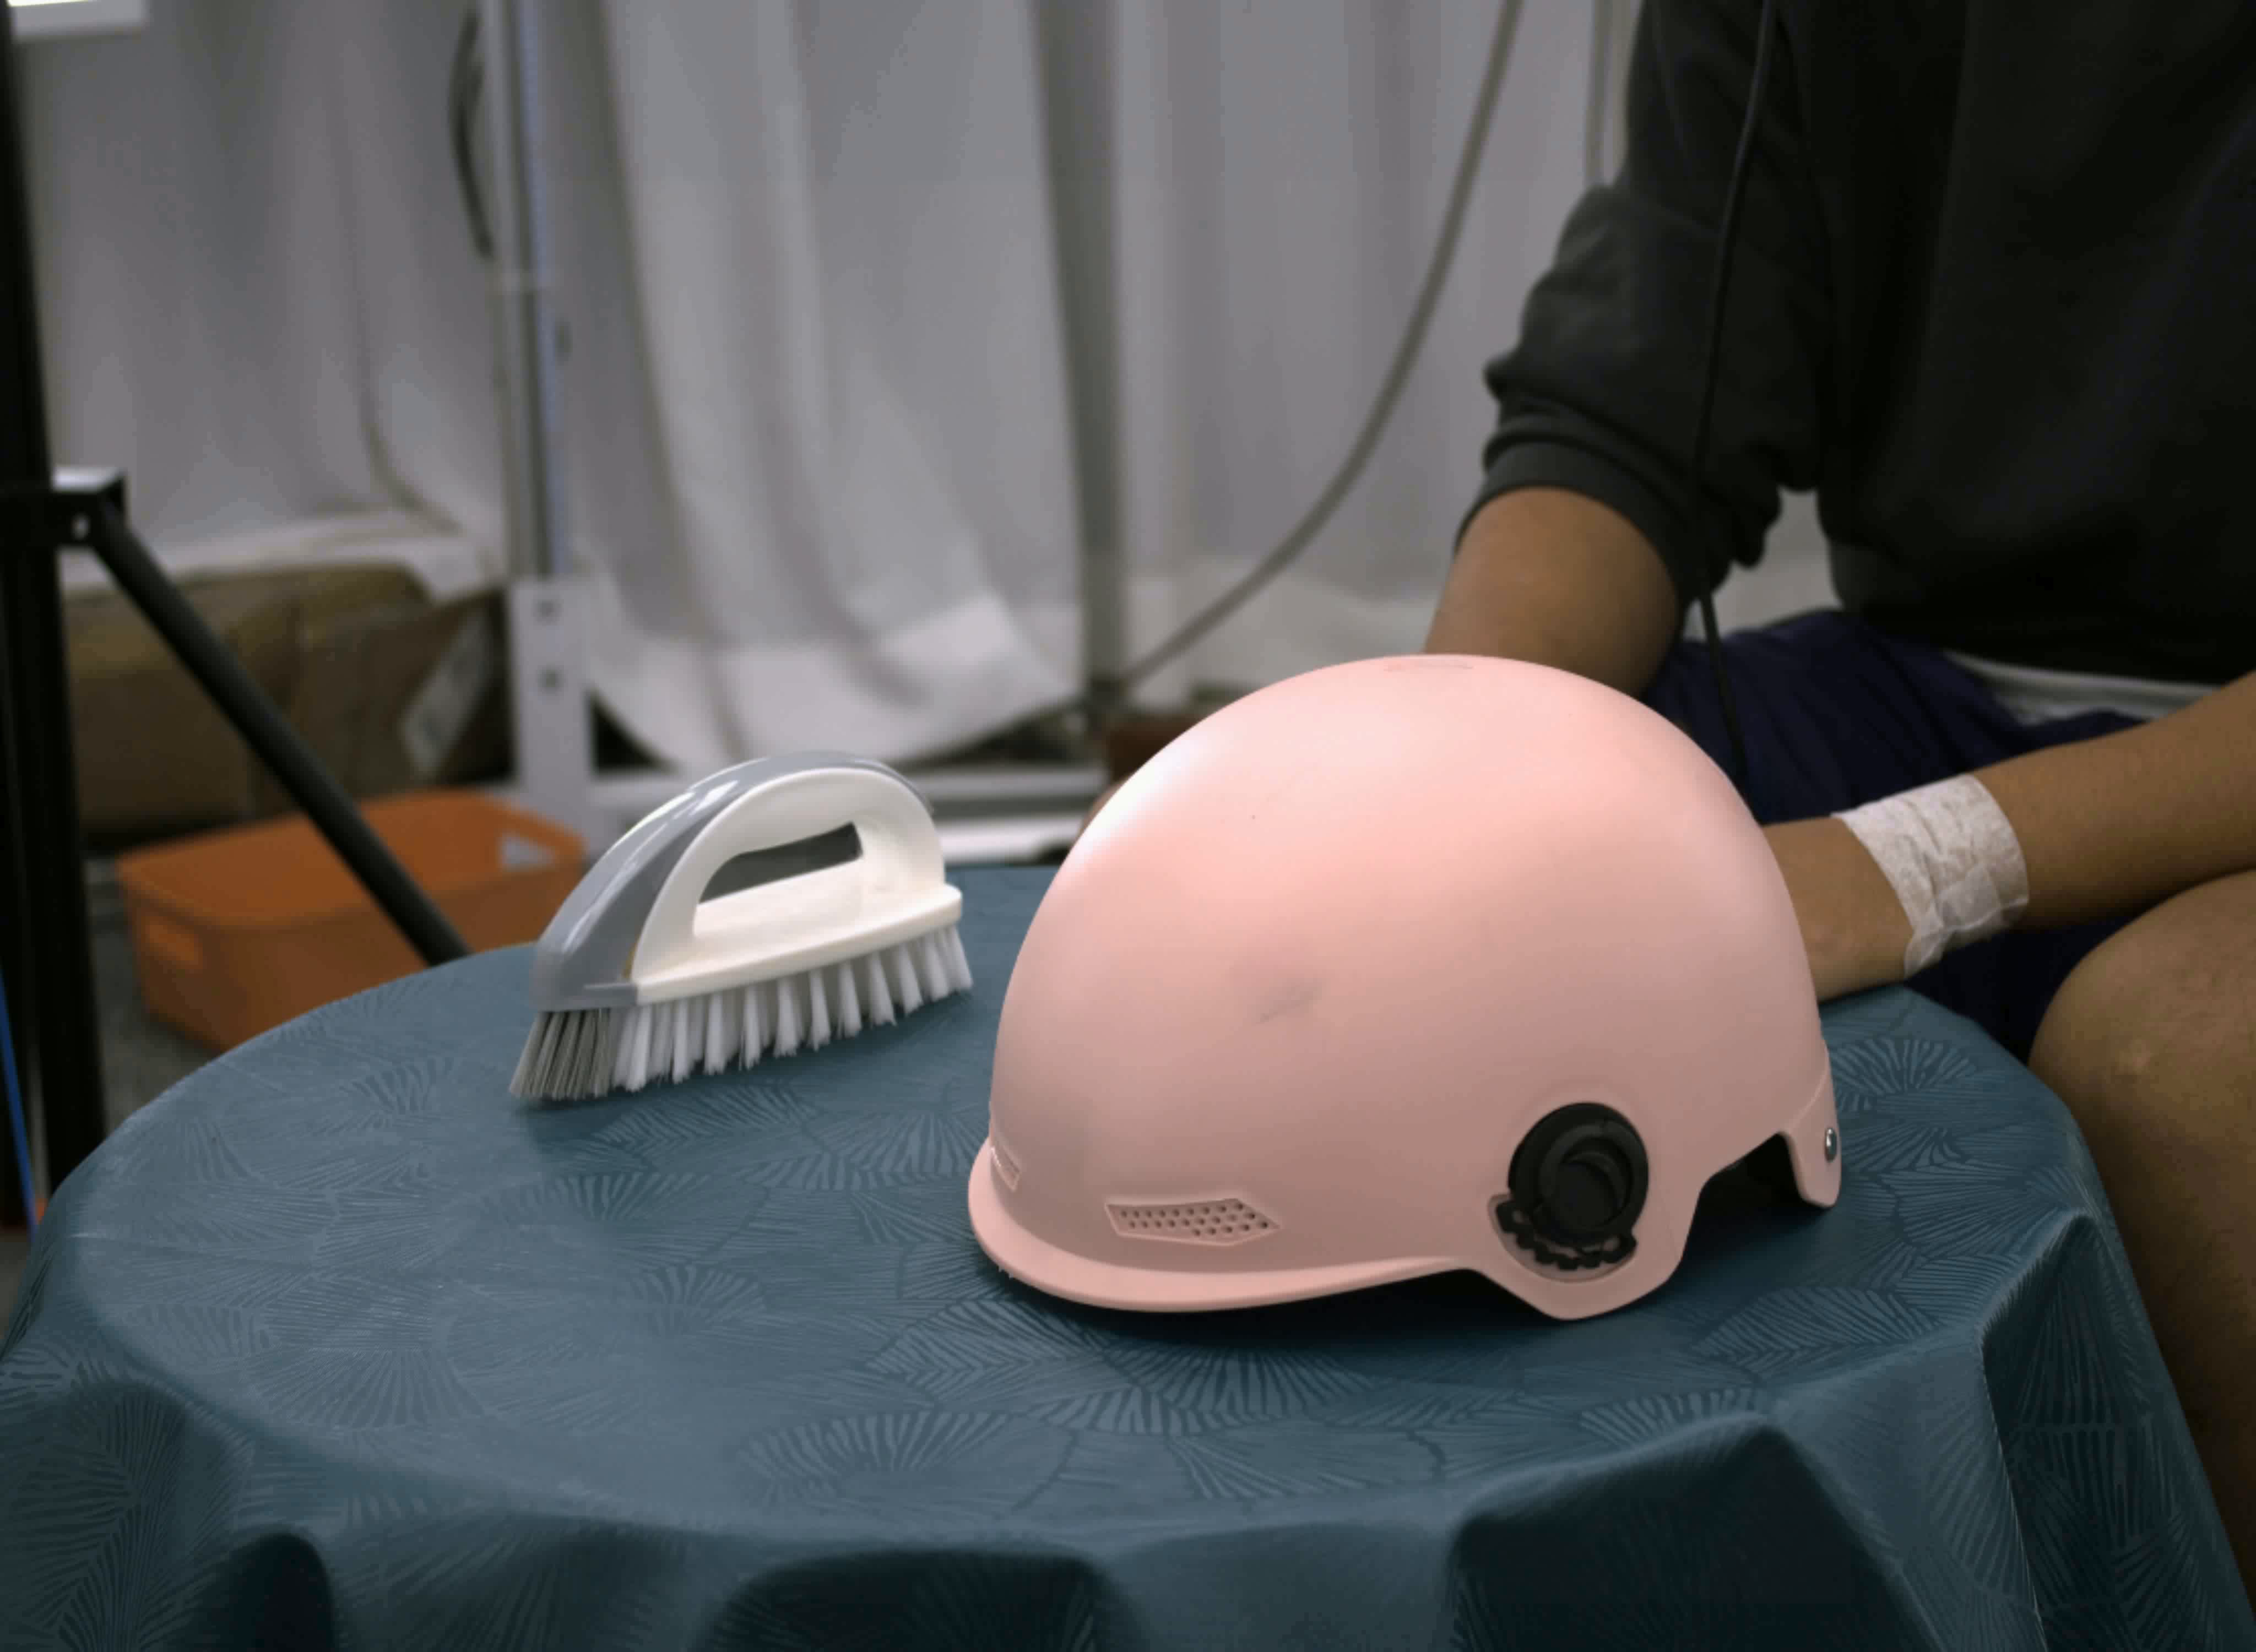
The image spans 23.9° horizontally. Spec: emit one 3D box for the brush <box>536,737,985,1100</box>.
[{"bbox_3d":[-0.124,0.026,1.703,0.171,0.094,0.063,-19,21,-41],"label":"brush"}]

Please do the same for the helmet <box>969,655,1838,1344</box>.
[{"bbox_3d":[0.075,0.038,1.520,0.260,0.158,0.239,-18,22,-34],"label":"helmet"}]
